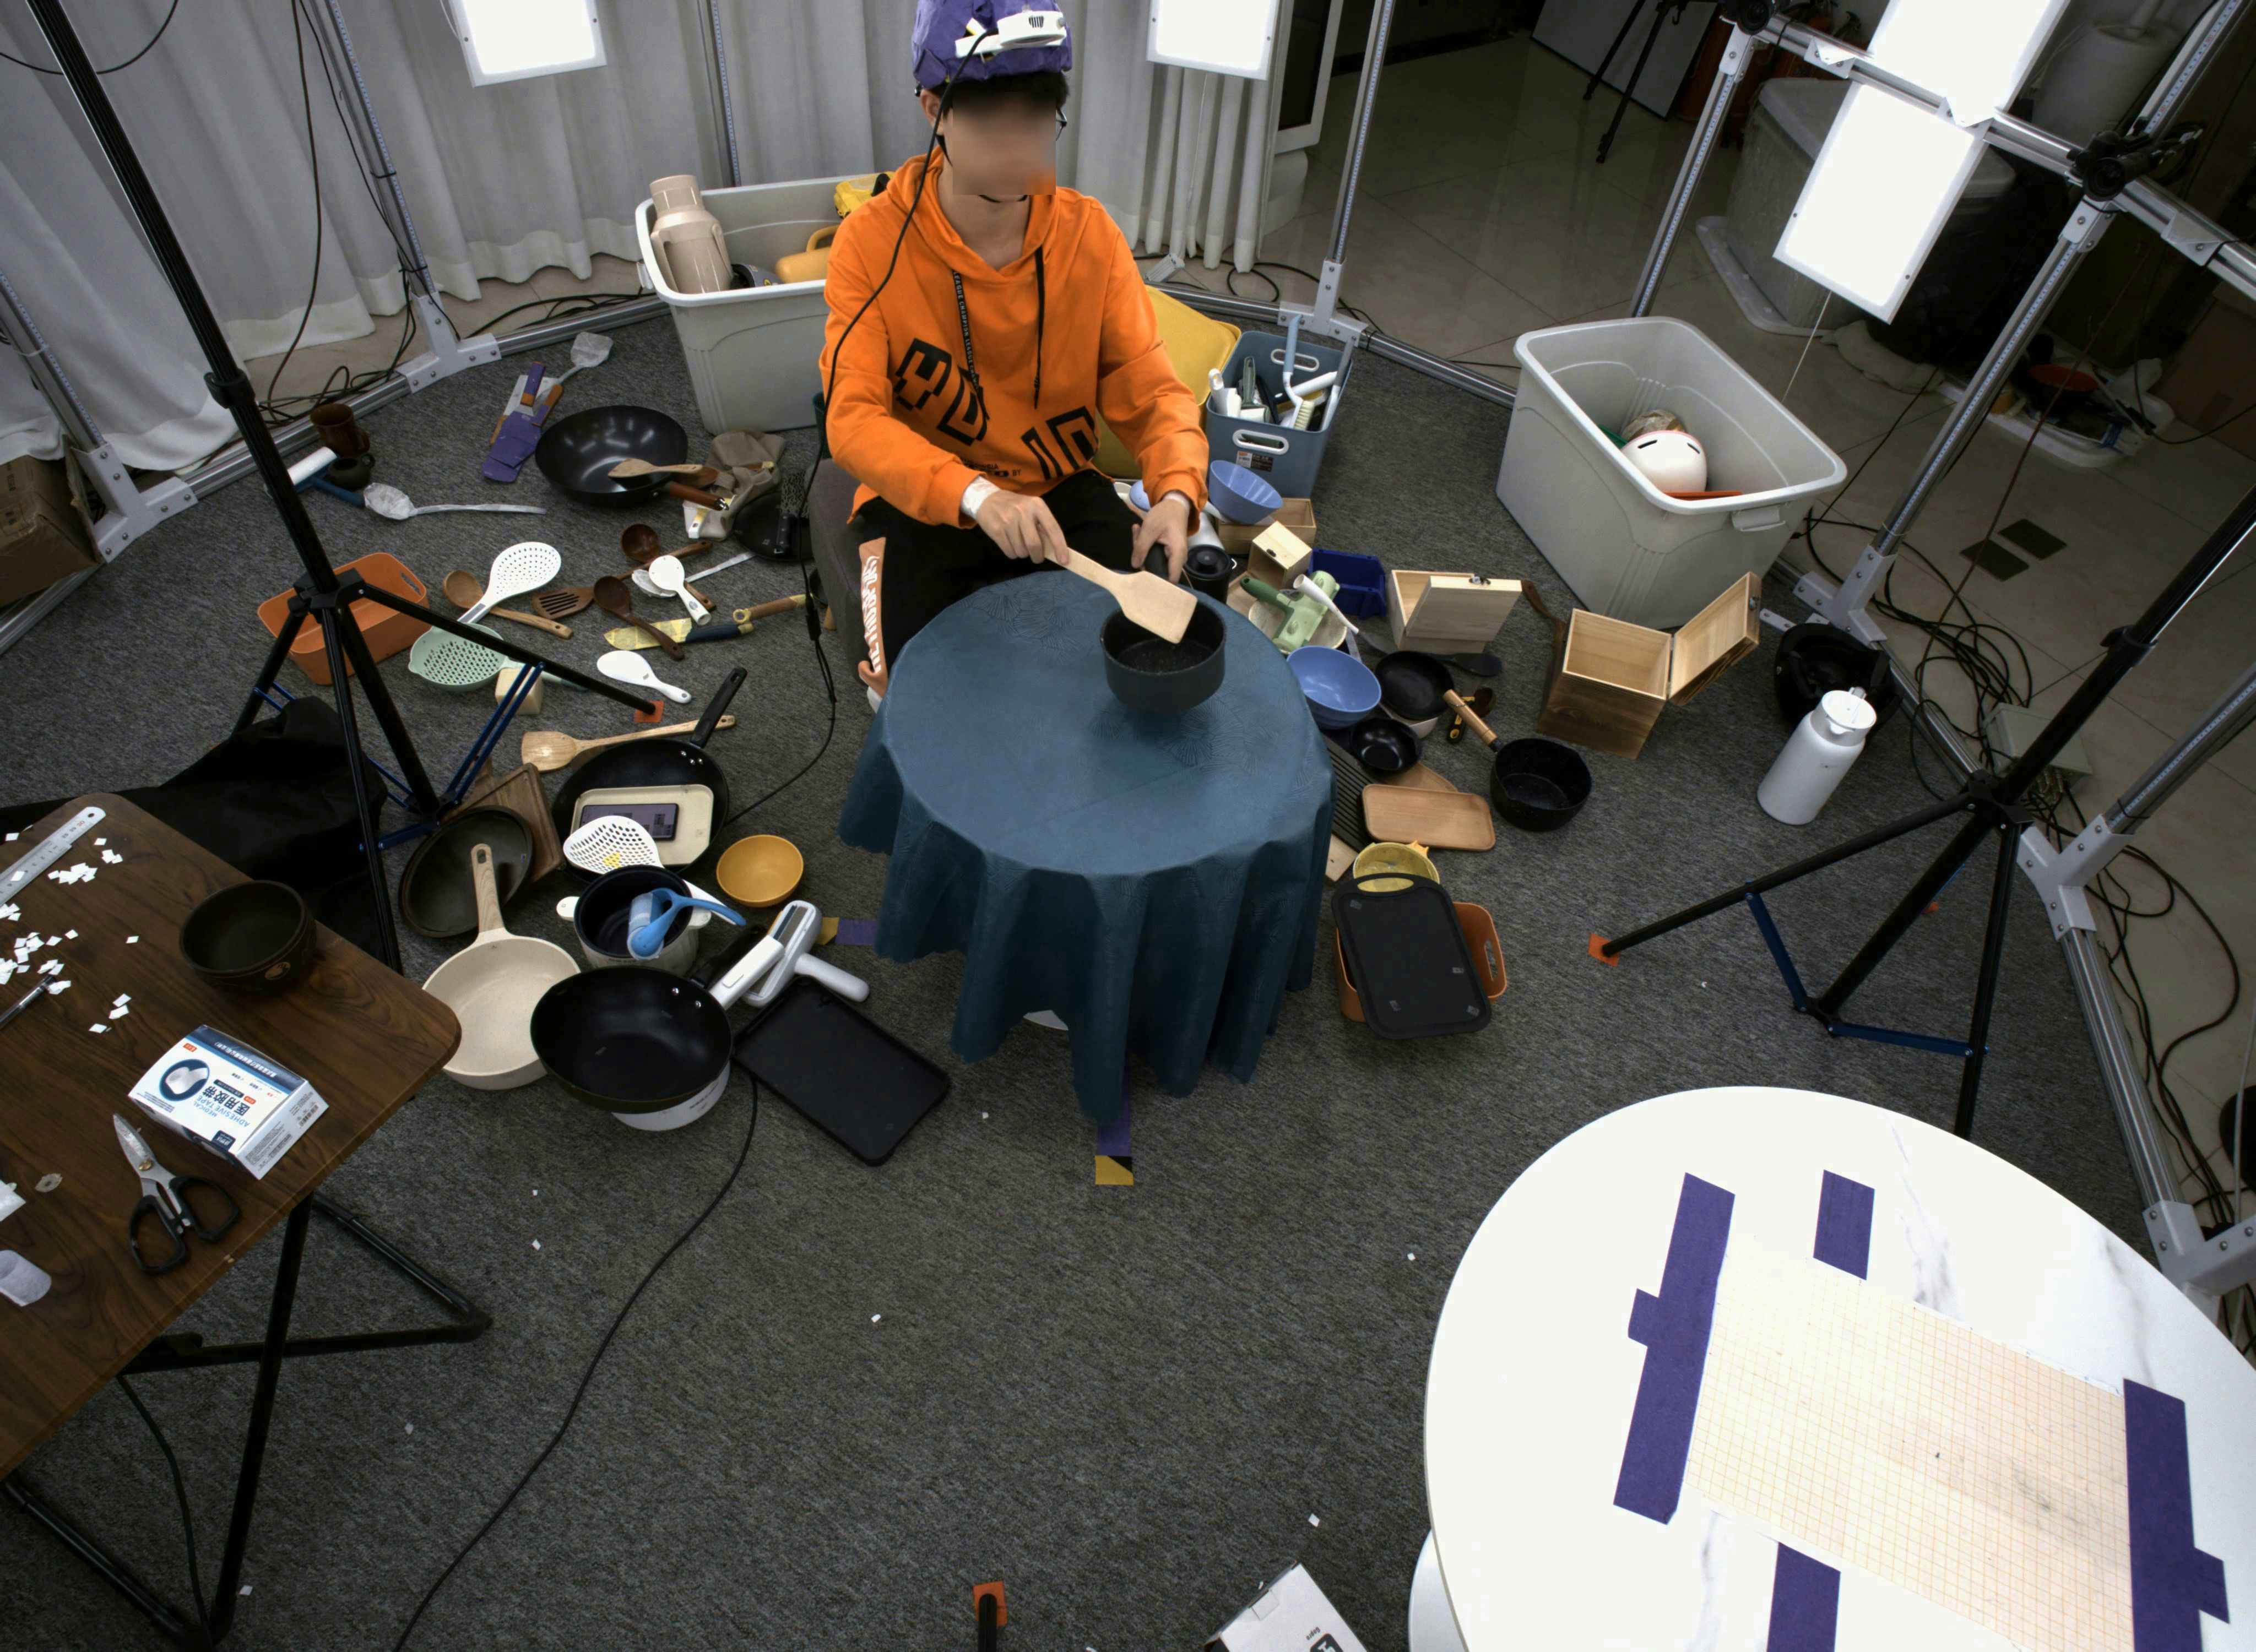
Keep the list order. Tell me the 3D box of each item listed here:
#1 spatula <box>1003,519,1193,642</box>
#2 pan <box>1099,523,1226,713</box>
[{"bbox_3d":[-0.047,-0.342,1.725,0.295,0.071,0.011,30,24,17],"label":"spatula"},{"bbox_3d":[0.049,-0.295,1.802,0.172,0.084,0.337,-2,47,3],"label":"pan"}]
